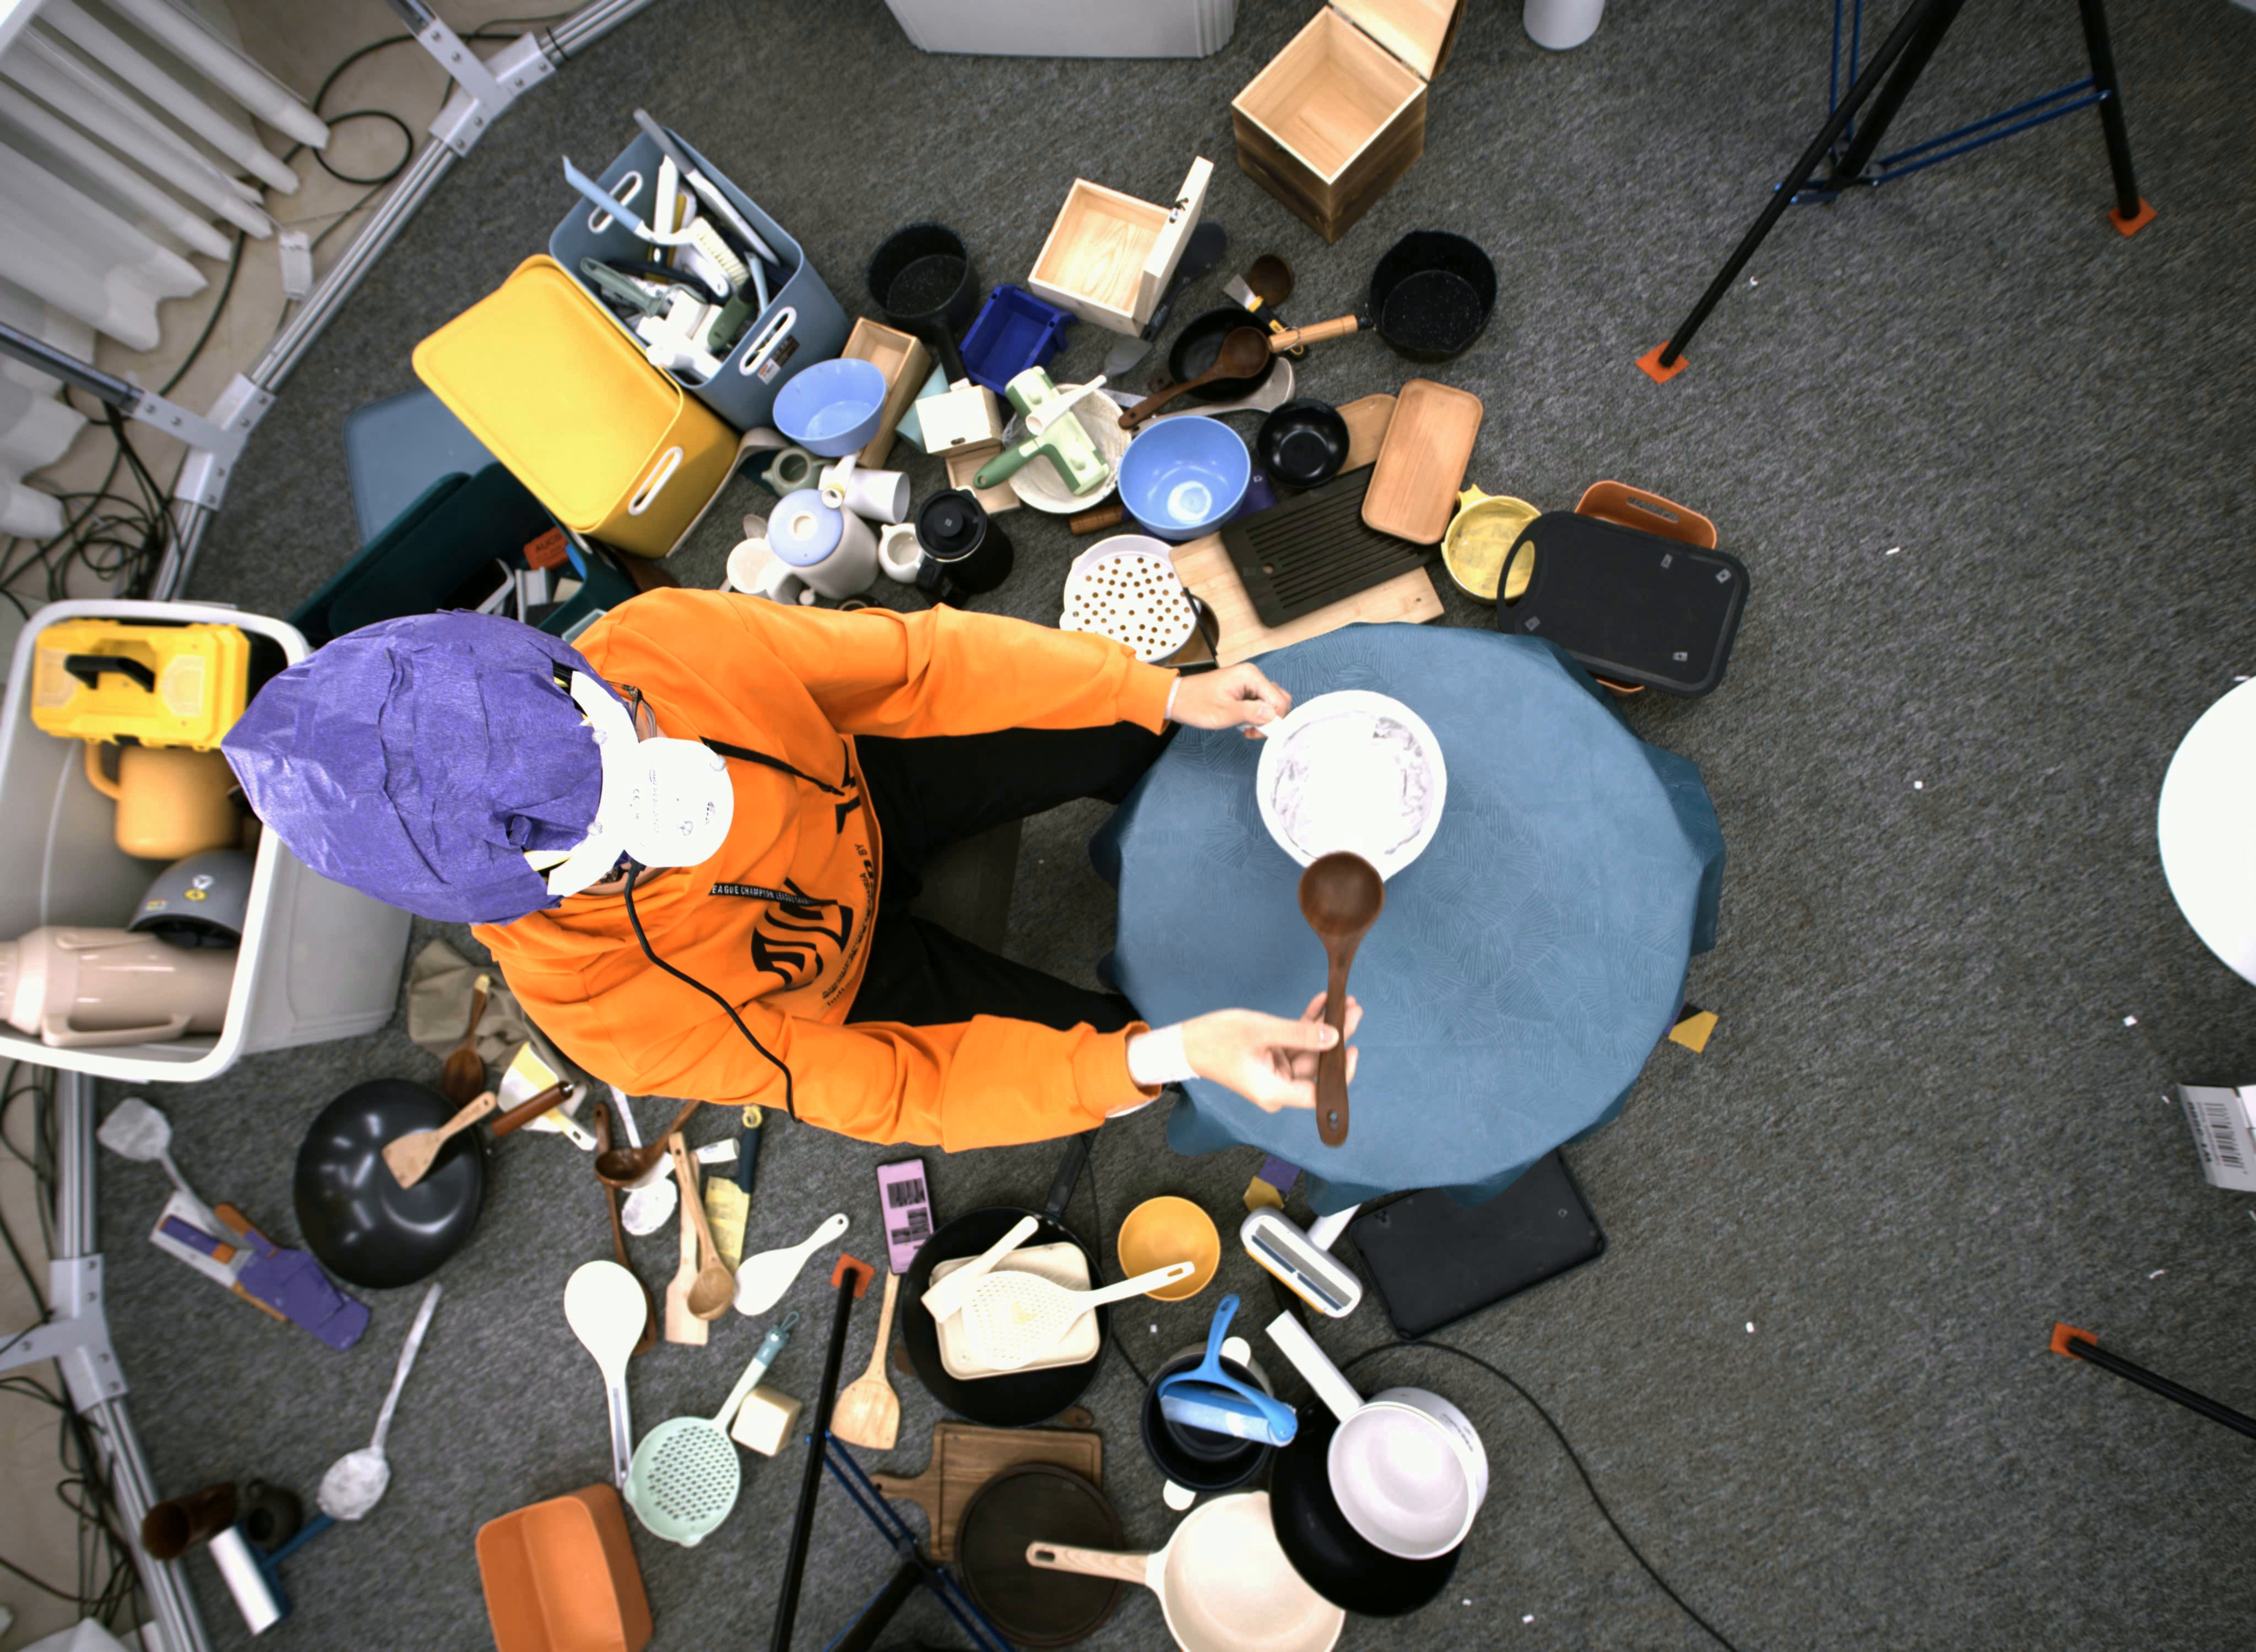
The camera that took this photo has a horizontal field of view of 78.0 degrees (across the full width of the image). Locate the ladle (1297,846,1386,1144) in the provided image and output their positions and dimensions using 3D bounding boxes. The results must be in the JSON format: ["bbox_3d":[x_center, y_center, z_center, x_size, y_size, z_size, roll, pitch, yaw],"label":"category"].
[{"bbox_3d":[0.169,0.130,1.132,0.077,0.066,0.253,-8,49,24],"label":"ladle"}]

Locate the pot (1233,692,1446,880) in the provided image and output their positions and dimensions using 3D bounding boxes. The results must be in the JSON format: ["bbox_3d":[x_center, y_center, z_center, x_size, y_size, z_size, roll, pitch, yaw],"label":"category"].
[{"bbox_3d":[0.198,-0.051,1.360,0.233,0.136,0.179,38,94,11],"label":"pot"}]
